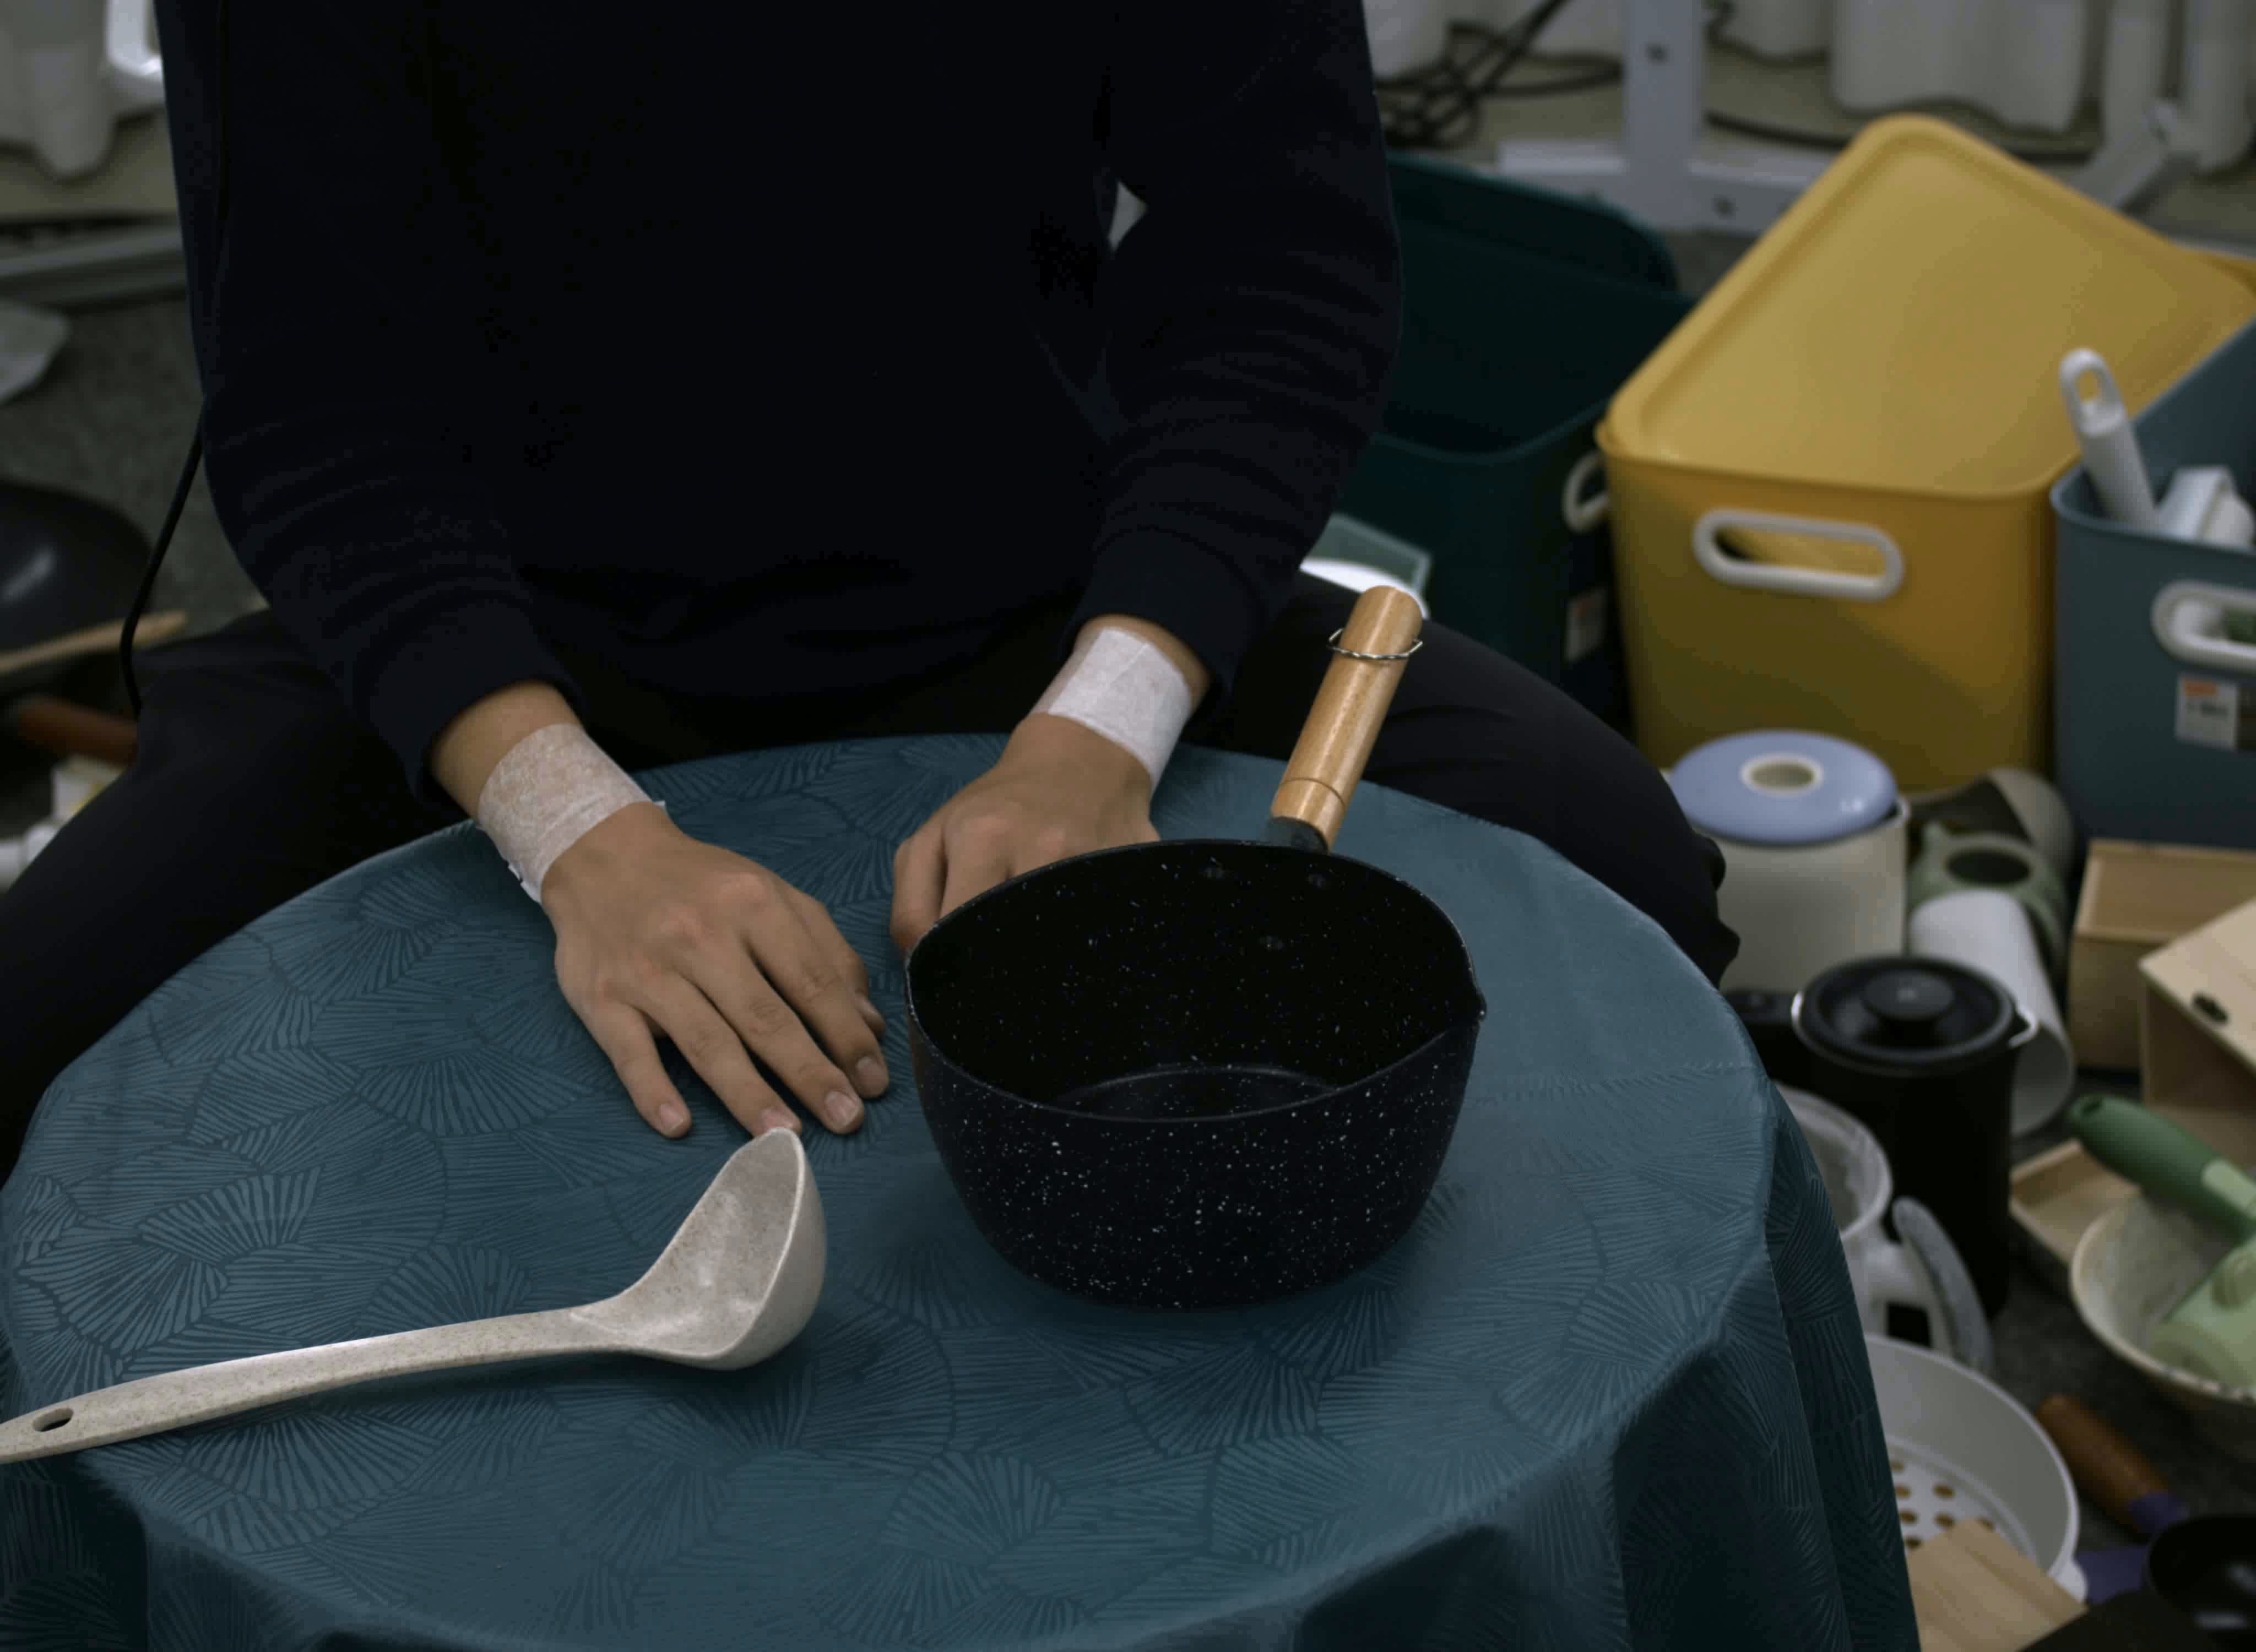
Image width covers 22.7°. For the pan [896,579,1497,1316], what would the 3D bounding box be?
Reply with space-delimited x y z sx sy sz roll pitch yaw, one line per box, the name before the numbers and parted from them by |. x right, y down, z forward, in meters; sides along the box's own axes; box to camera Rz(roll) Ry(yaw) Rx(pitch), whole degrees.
pan | 0.044 0.037 1.904 0.206 0.107 0.349 4 30 17

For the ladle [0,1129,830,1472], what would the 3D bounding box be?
ladle | -0.229 0.151 1.761 0.274 0.068 0.090 -8 34 -7
